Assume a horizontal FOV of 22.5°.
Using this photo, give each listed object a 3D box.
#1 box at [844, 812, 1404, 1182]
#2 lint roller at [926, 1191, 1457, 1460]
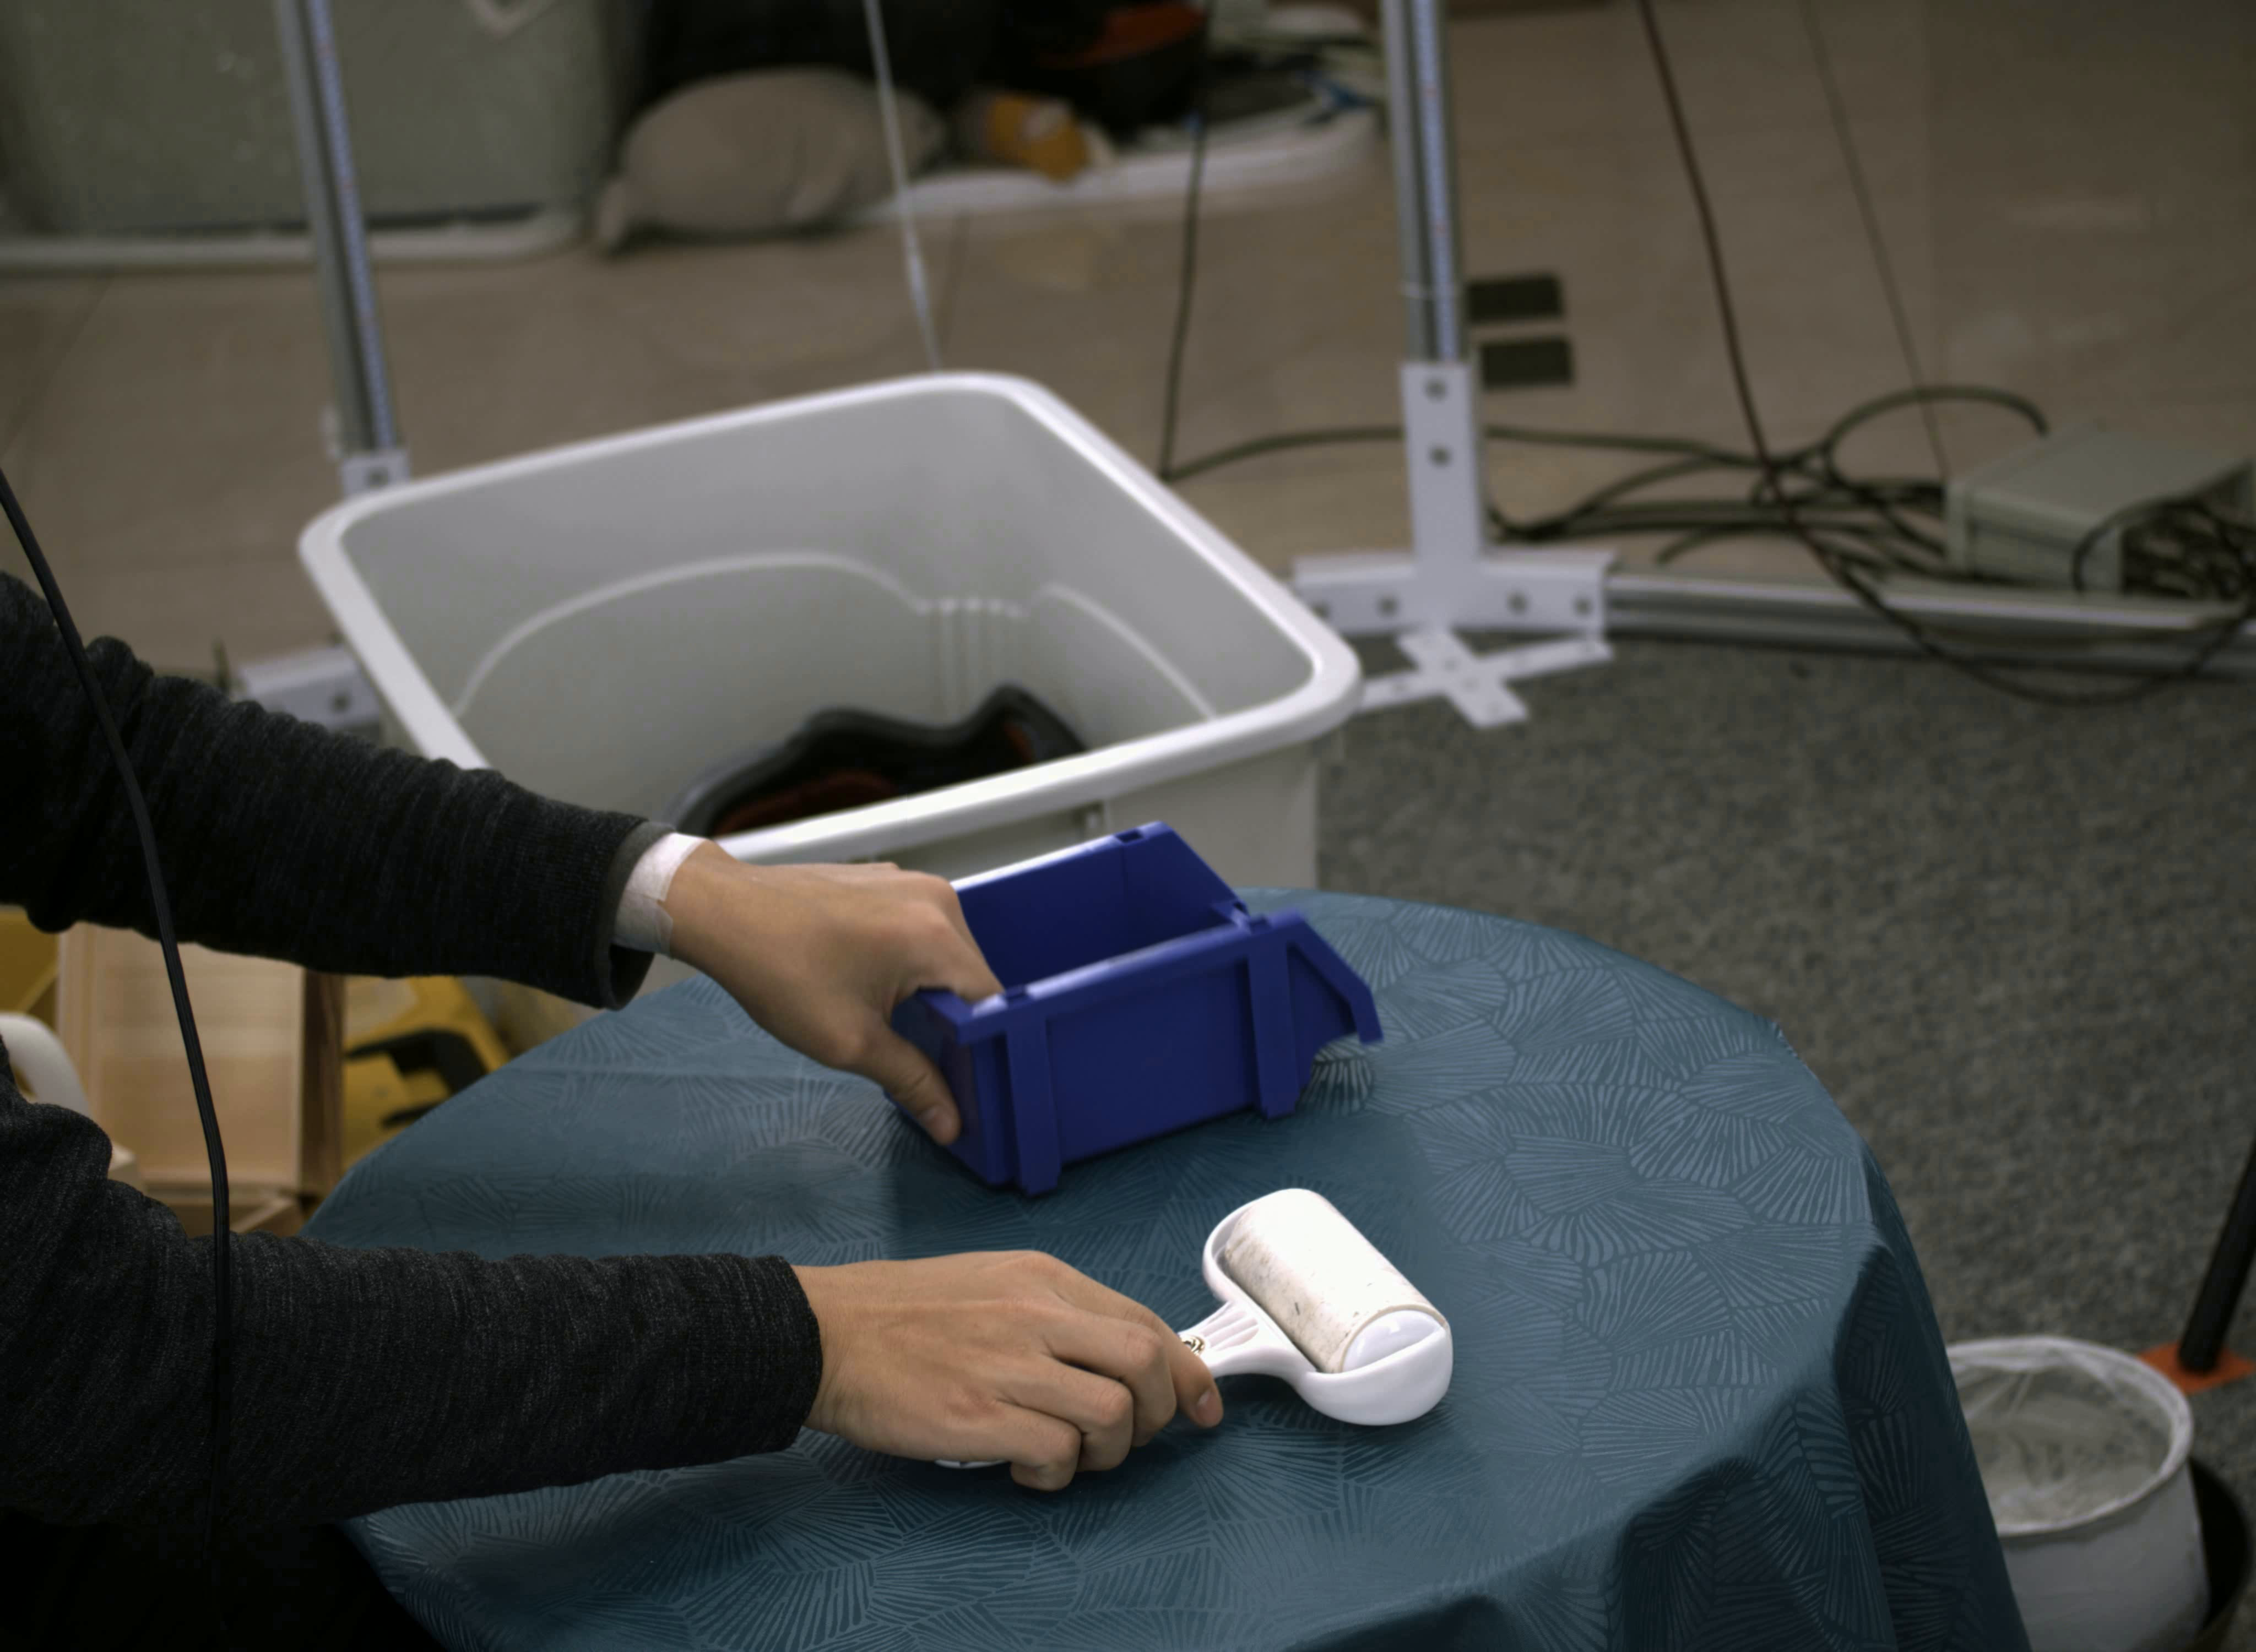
[{"bbox_3d":[-0.002,0.062,2.207,0.178,0.083,0.123,-19,25,-21],"label":"box"},{"bbox_3d":[0.013,0.181,1.989,0.180,0.051,0.131,-9,26,-18],"label":"lint roller"}]
